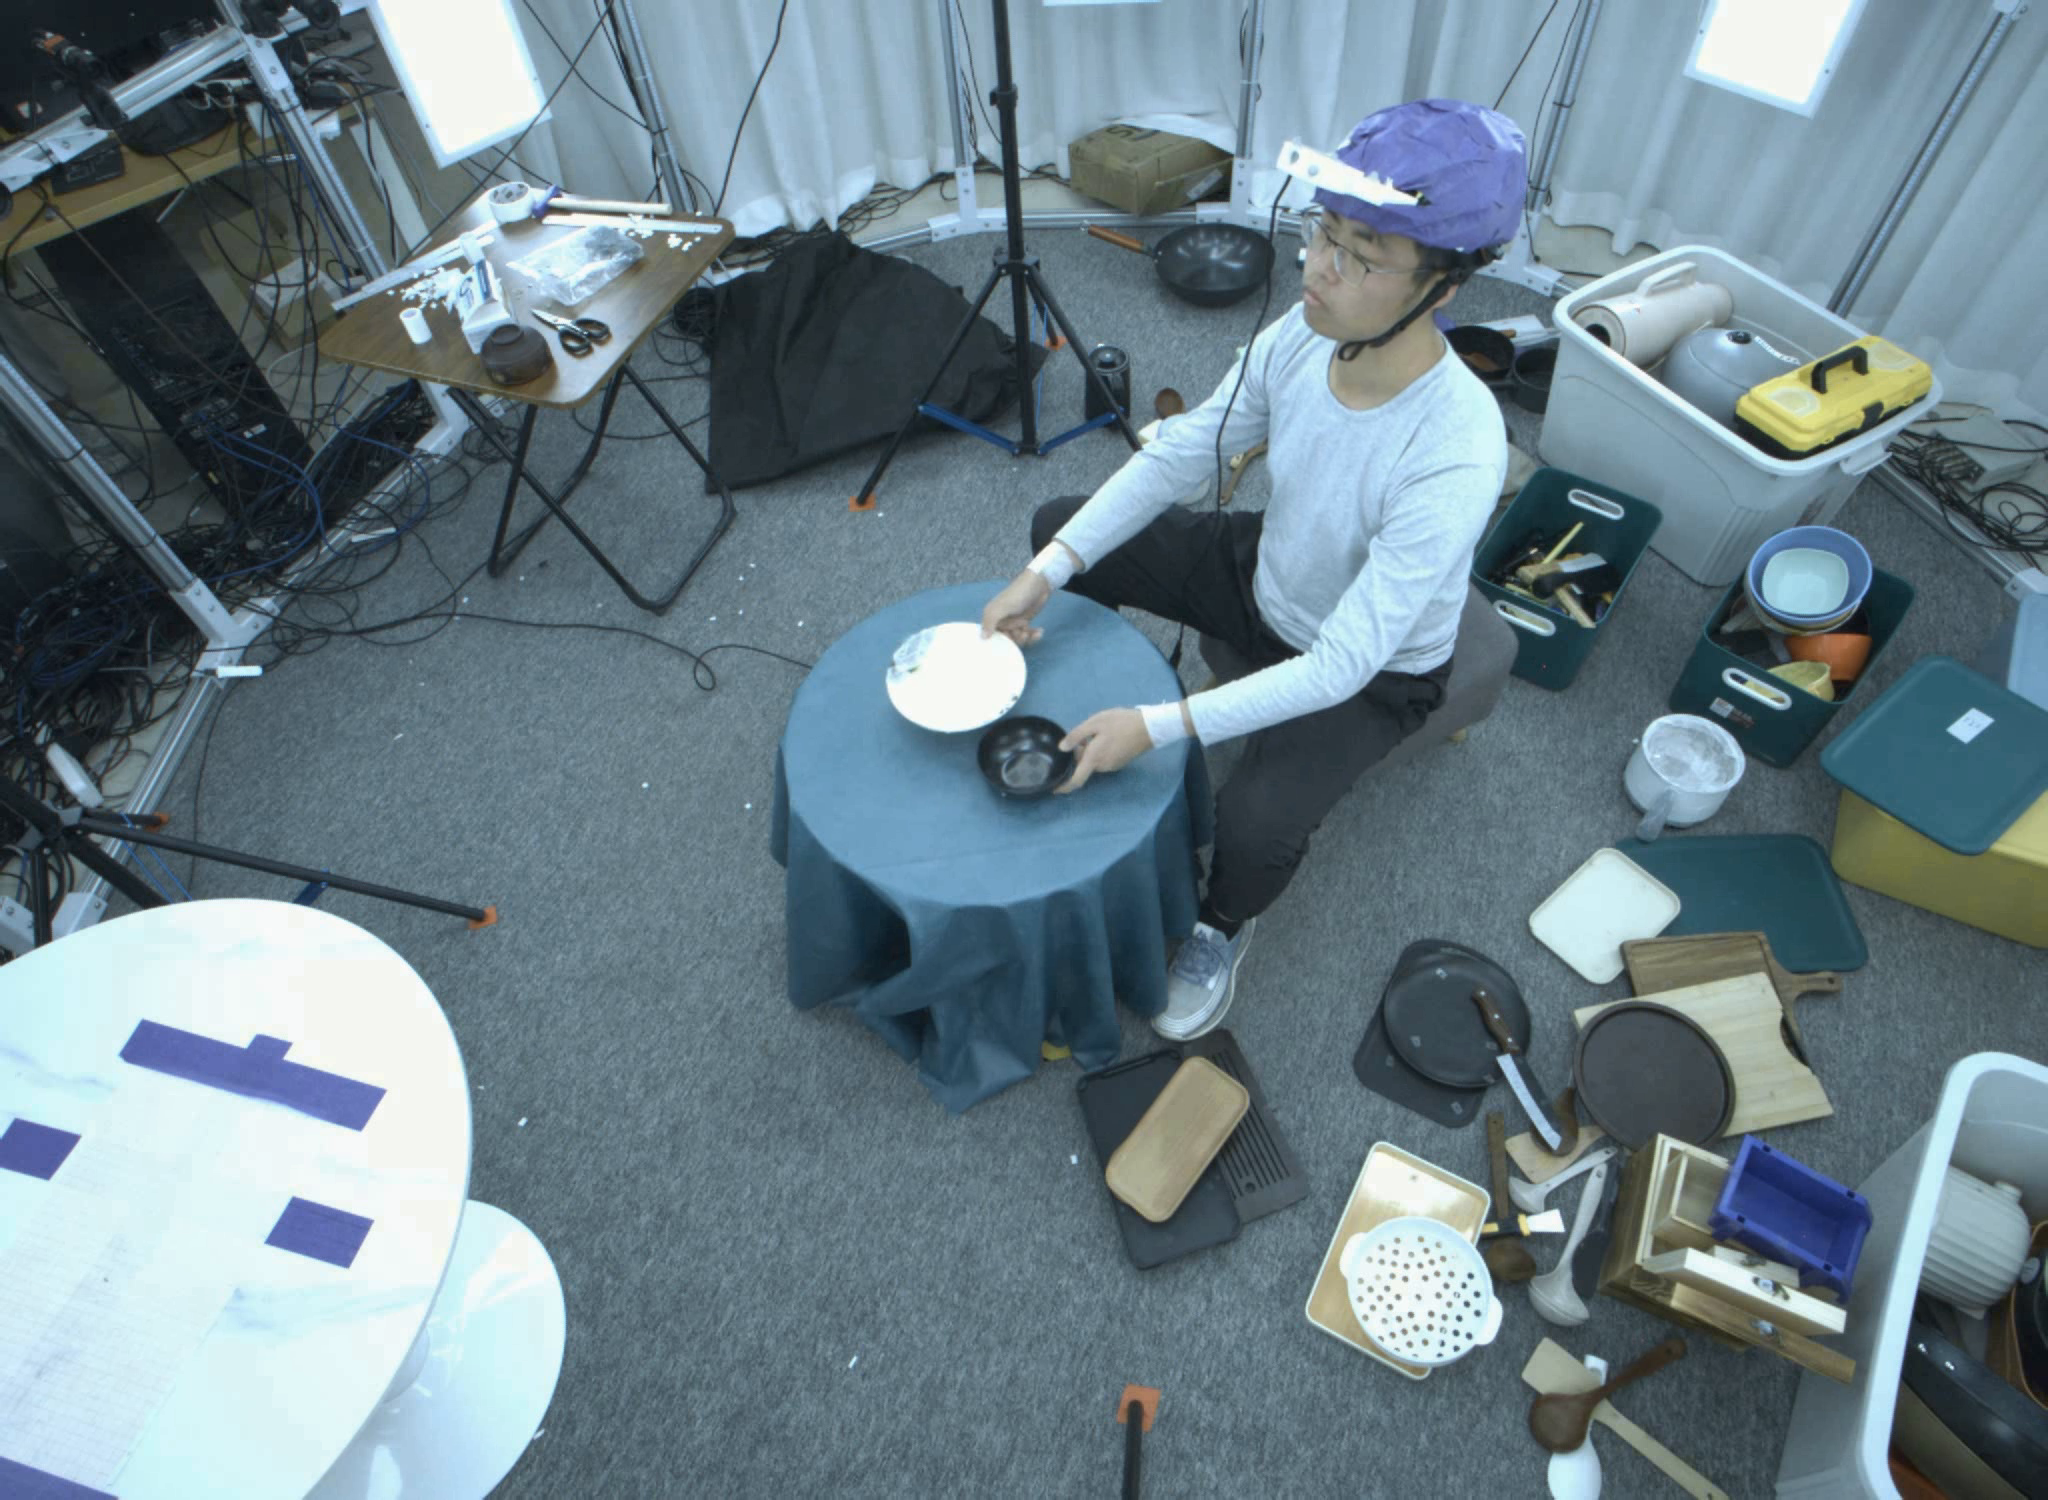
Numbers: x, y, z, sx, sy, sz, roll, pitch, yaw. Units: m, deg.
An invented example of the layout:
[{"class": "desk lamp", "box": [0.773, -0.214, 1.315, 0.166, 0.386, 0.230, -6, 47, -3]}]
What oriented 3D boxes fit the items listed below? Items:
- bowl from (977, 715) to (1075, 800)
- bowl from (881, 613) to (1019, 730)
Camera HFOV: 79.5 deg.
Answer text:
[{"class": "bowl", "box": [0.002, 0.019, 1.755, 0.140, 0.050, 0.138, 3, 54, -3]}, {"class": "bowl", "box": [-0.104, -0.099, 1.807, 0.203, 0.079, 0.202, -2, 59, 5]}]
